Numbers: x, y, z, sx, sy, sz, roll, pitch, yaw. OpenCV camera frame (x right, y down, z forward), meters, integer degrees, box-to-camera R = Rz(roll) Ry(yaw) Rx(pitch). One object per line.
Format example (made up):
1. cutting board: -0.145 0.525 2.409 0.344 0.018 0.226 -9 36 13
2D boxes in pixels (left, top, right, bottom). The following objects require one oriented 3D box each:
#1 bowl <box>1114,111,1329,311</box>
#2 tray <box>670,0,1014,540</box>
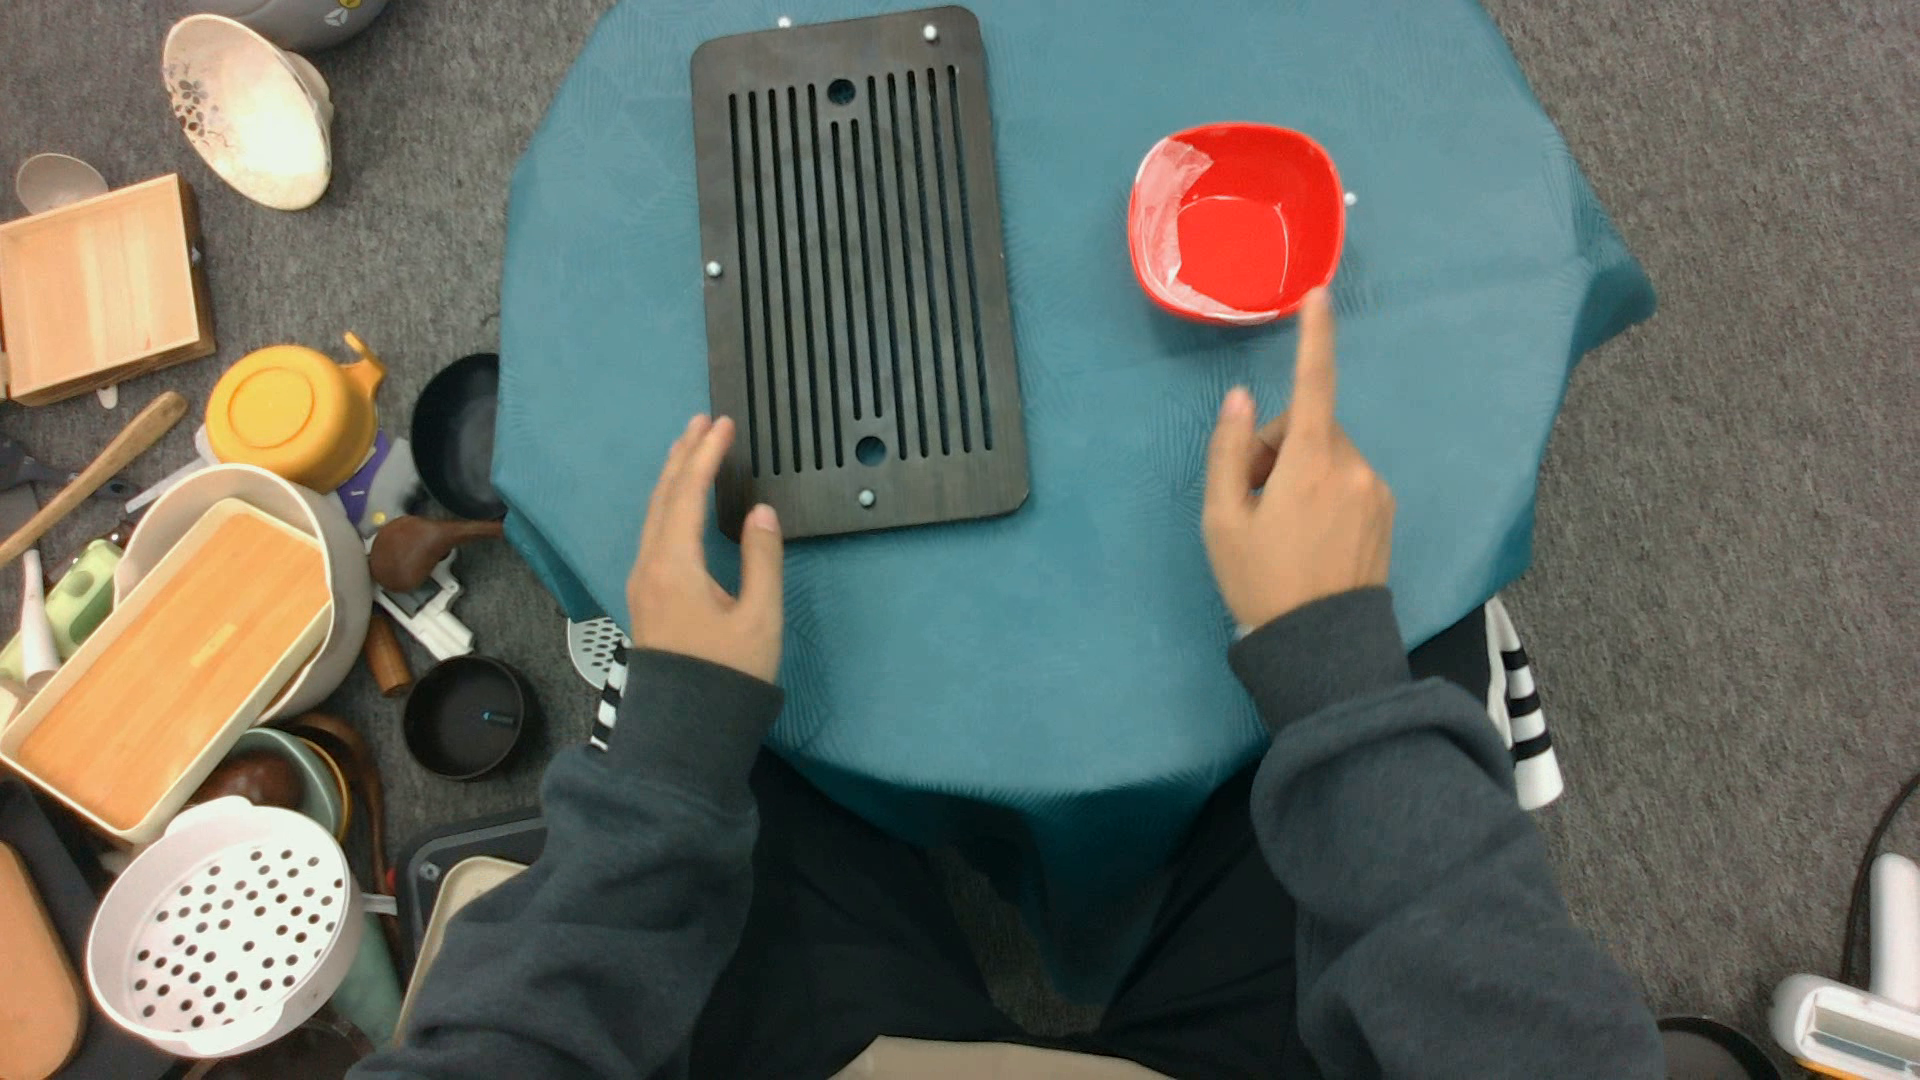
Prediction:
1. bowl: 0.136 -0.167 0.734 0.119 0.051 0.119 -1 75 4
2. tray: -0.069 -0.155 0.768 0.170 0.018 0.306 -7 77 3
